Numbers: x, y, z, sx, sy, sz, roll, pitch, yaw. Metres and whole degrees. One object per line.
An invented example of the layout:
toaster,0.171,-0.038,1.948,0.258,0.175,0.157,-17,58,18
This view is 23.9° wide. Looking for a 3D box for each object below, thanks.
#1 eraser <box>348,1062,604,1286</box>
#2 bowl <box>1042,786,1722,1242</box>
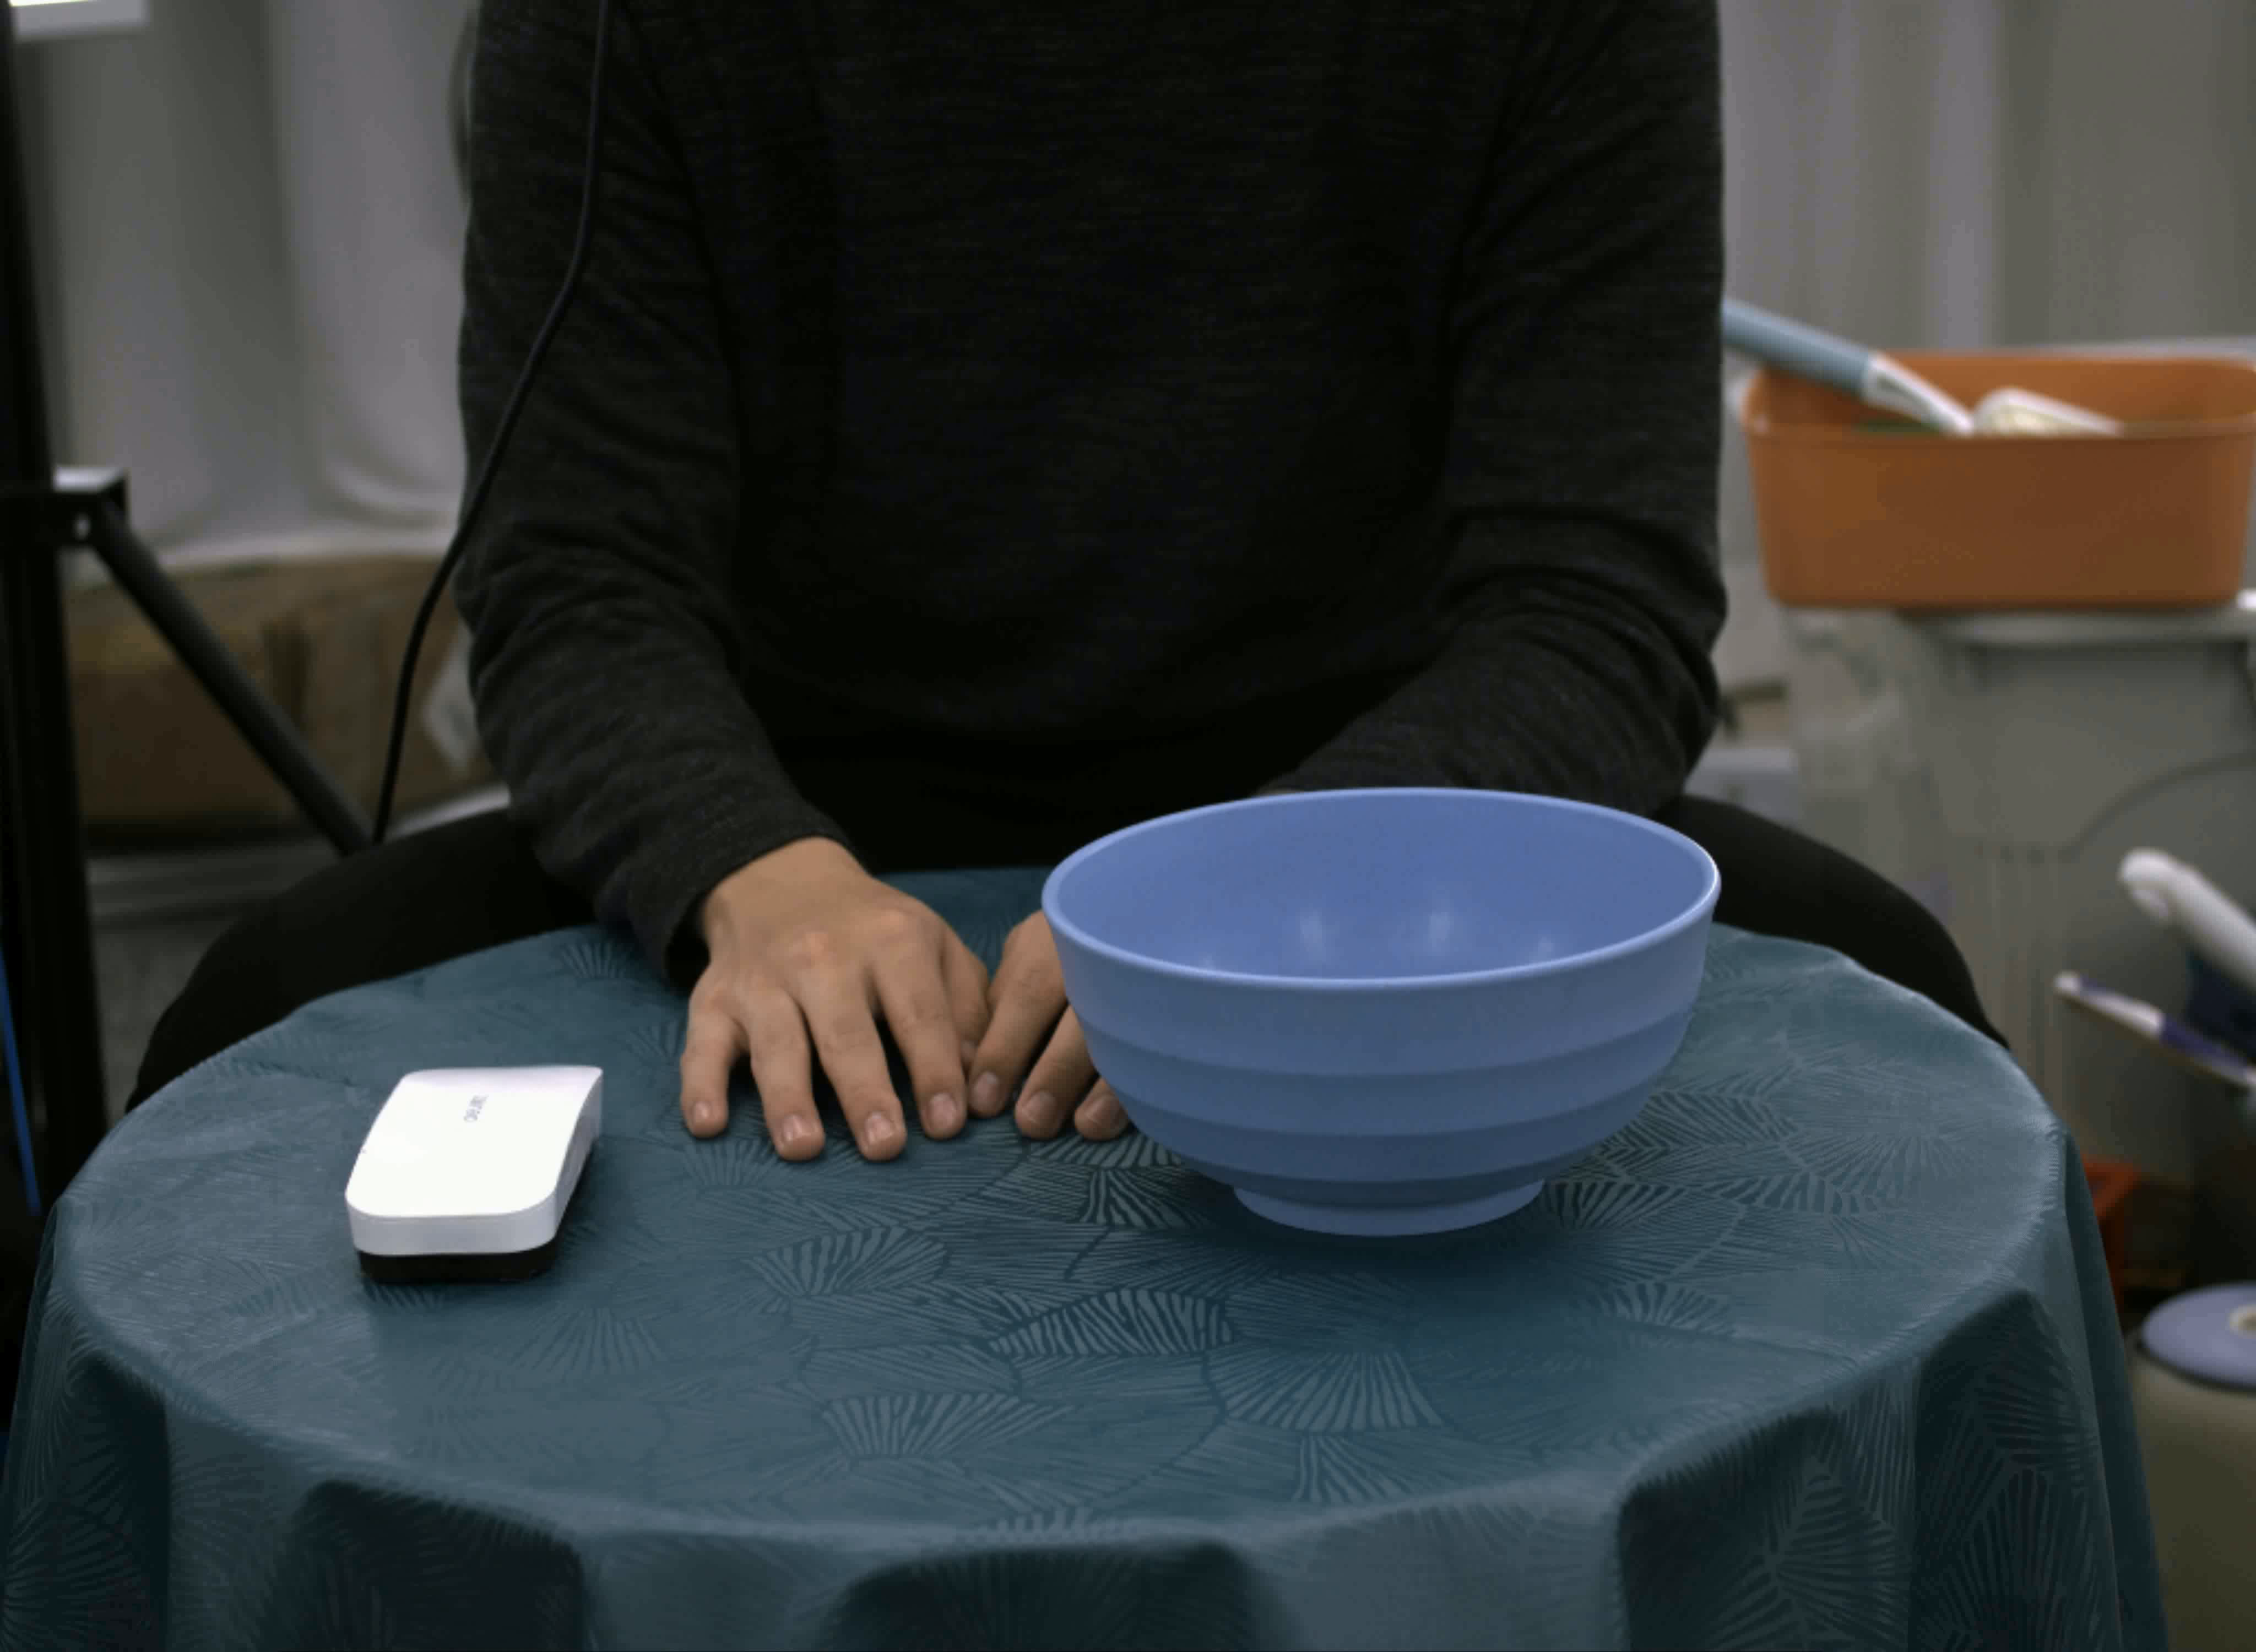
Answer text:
eraser,-0.189,0.098,1.568,0.063,0.034,0.131,-1,17,3
bowl,0.074,0.061,1.541,0.195,0.095,0.197,-3,16,-1
